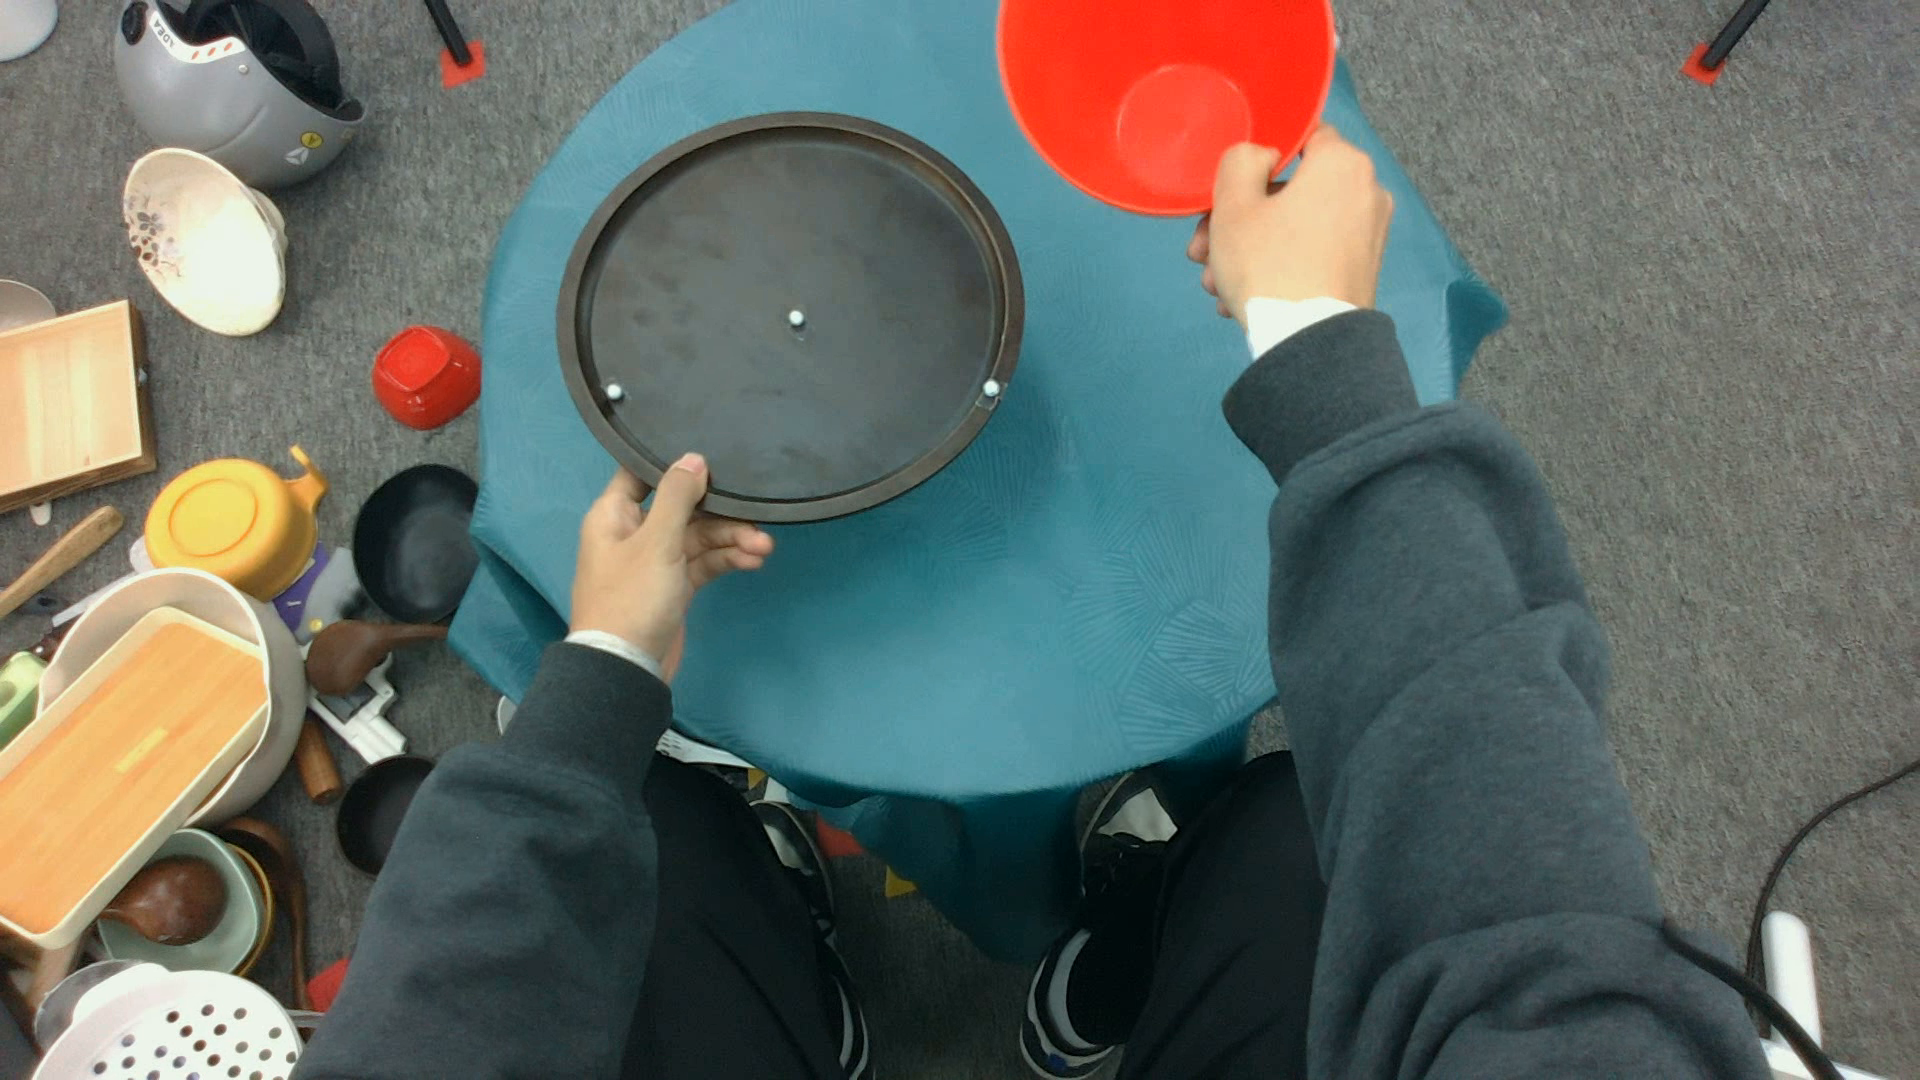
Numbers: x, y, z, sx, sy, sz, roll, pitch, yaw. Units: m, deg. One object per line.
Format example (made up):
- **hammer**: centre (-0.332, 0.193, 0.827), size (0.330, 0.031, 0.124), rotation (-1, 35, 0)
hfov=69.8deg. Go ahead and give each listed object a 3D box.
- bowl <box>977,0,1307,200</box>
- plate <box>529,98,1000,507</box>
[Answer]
- **bowl**: centre (0.086, -0.225, 0.656), size (0.148, 0.104, 0.148), rotation (-1, 83, 5)
- **plate**: centre (-0.105, -0.133, 0.749), size (0.255, 0.029, 0.255), rotation (1, 69, -2)
